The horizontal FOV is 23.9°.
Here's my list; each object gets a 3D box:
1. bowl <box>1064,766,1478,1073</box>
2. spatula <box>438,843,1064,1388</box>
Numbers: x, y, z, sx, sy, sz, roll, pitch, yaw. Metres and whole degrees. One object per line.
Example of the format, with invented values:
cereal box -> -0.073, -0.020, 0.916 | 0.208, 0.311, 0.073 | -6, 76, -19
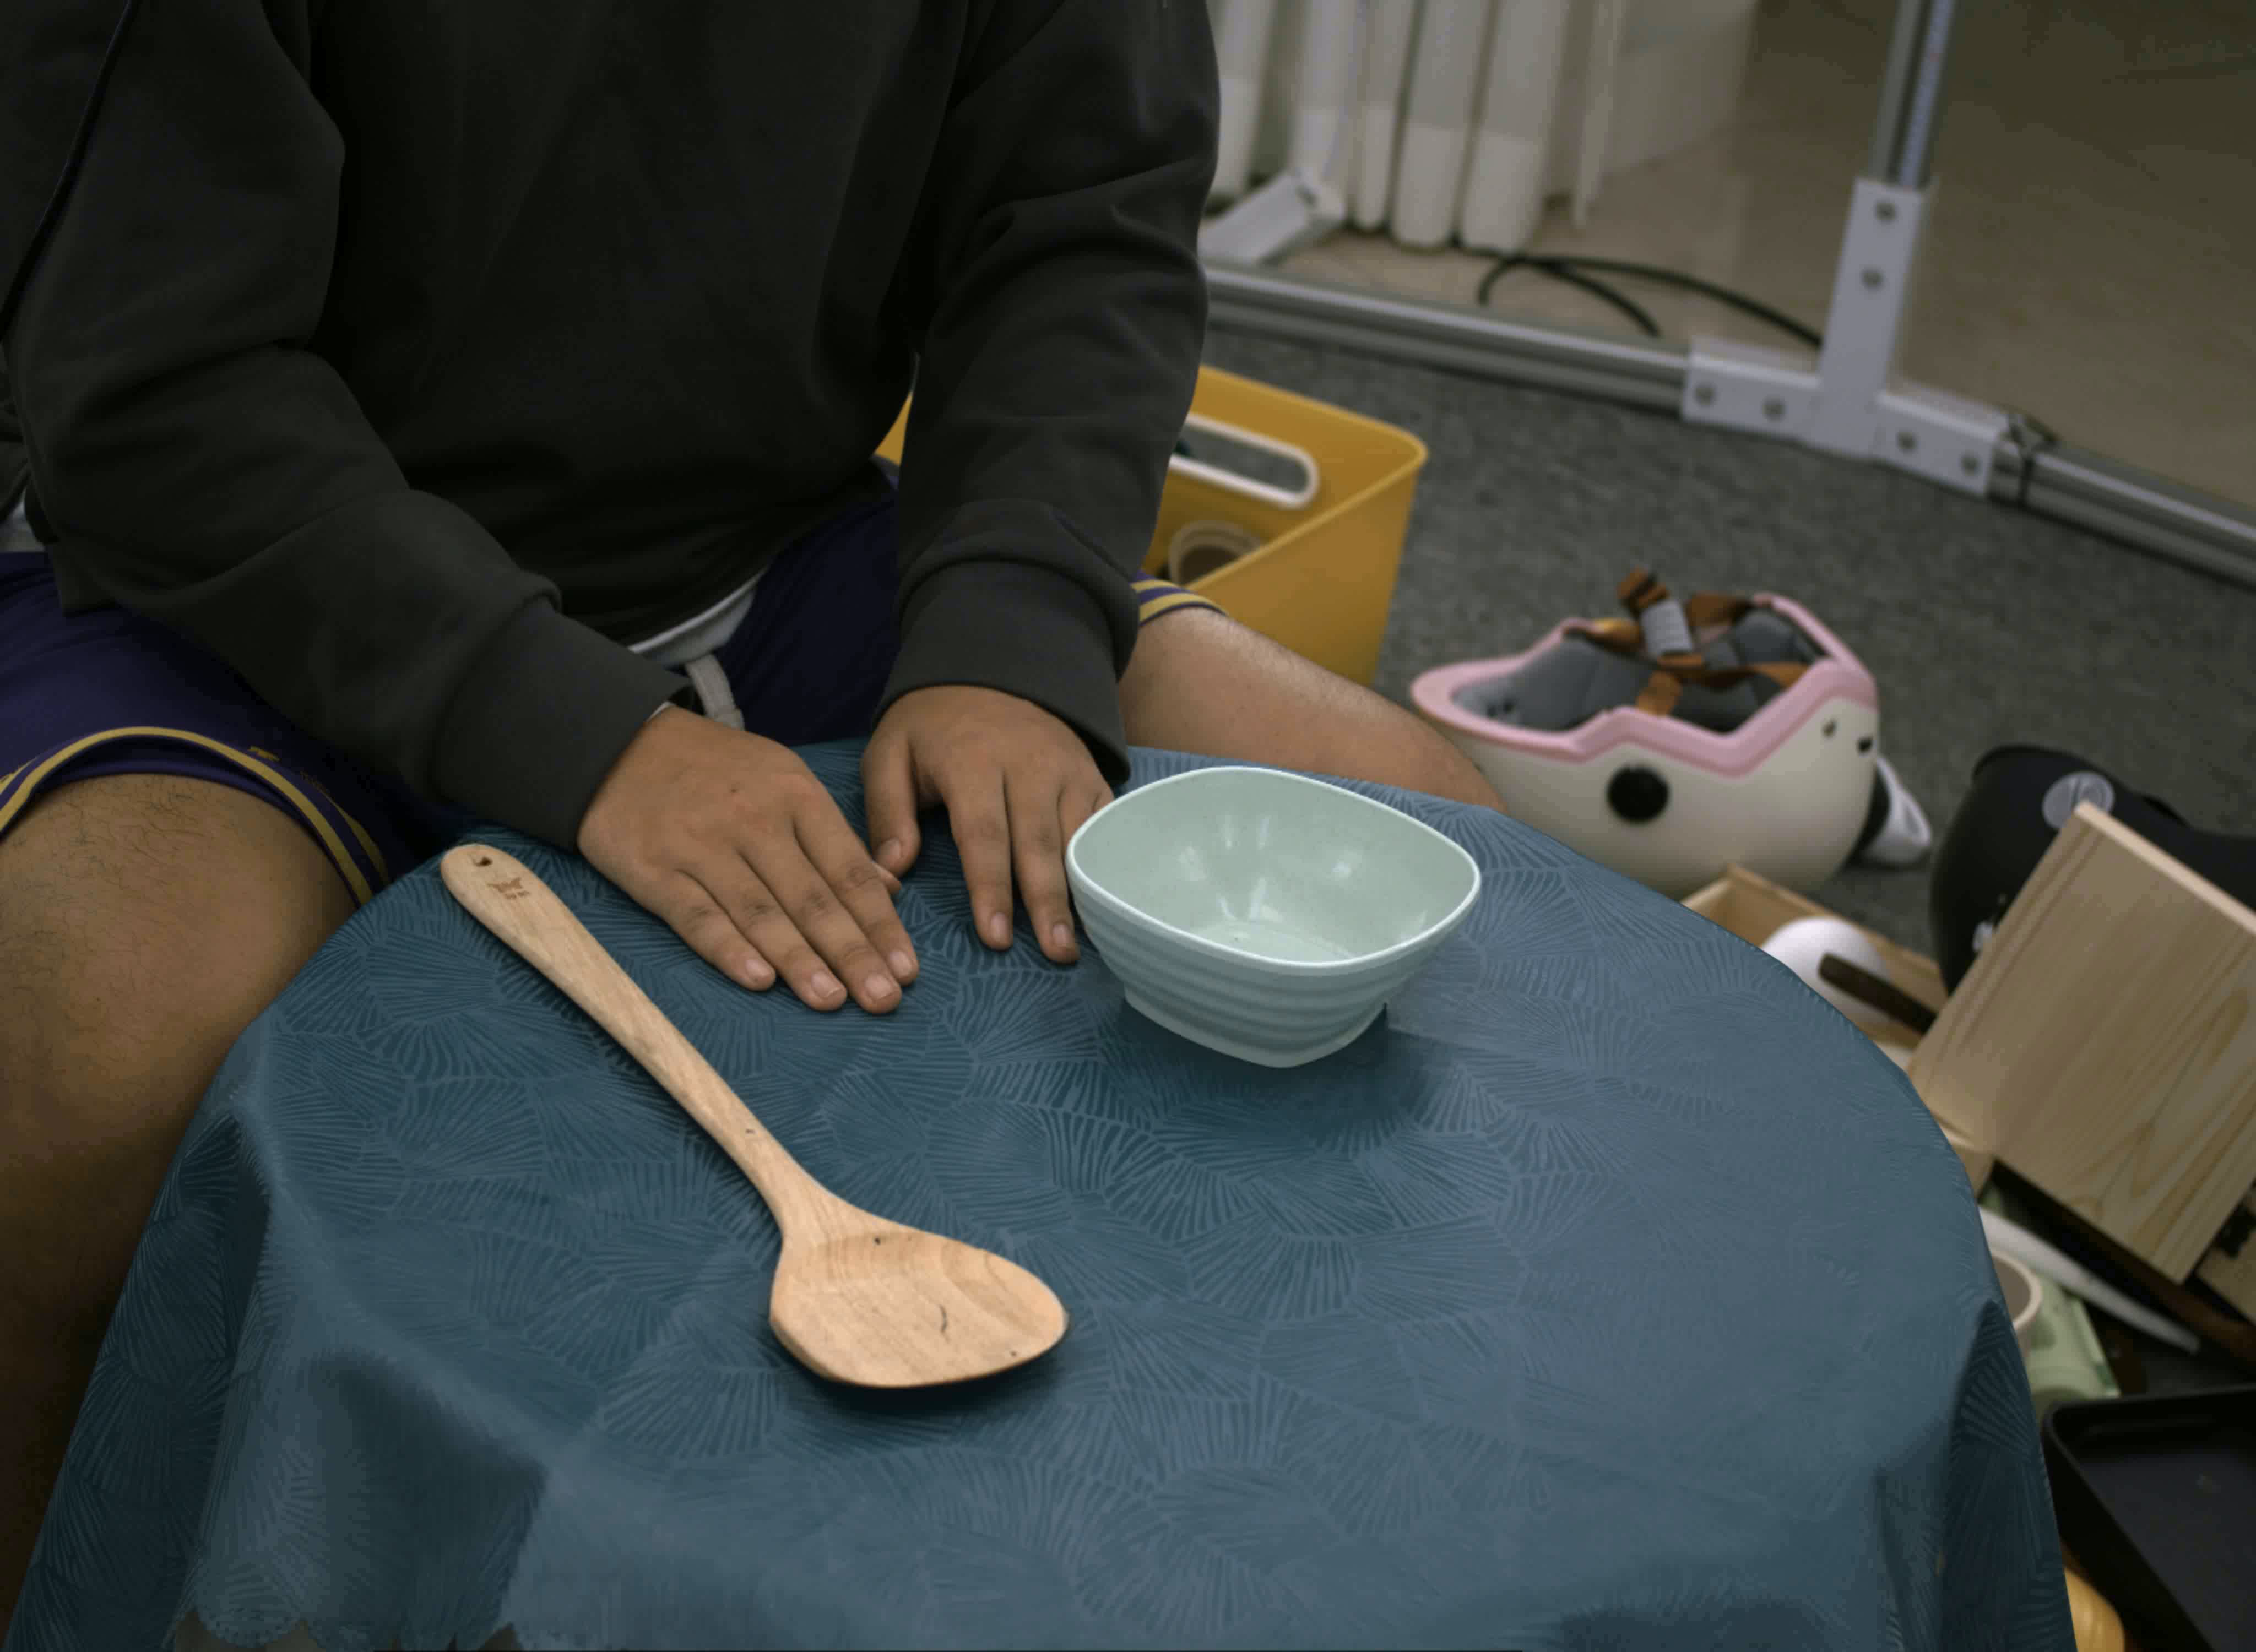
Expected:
bowl -> 0.048, 0.039, 1.919 | 0.151, 0.058, 0.152 | 6, 28, -4
spatula -> -0.151, 0.092, 1.810 | 0.095, 0.018, 0.394 | -9, 31, -31
